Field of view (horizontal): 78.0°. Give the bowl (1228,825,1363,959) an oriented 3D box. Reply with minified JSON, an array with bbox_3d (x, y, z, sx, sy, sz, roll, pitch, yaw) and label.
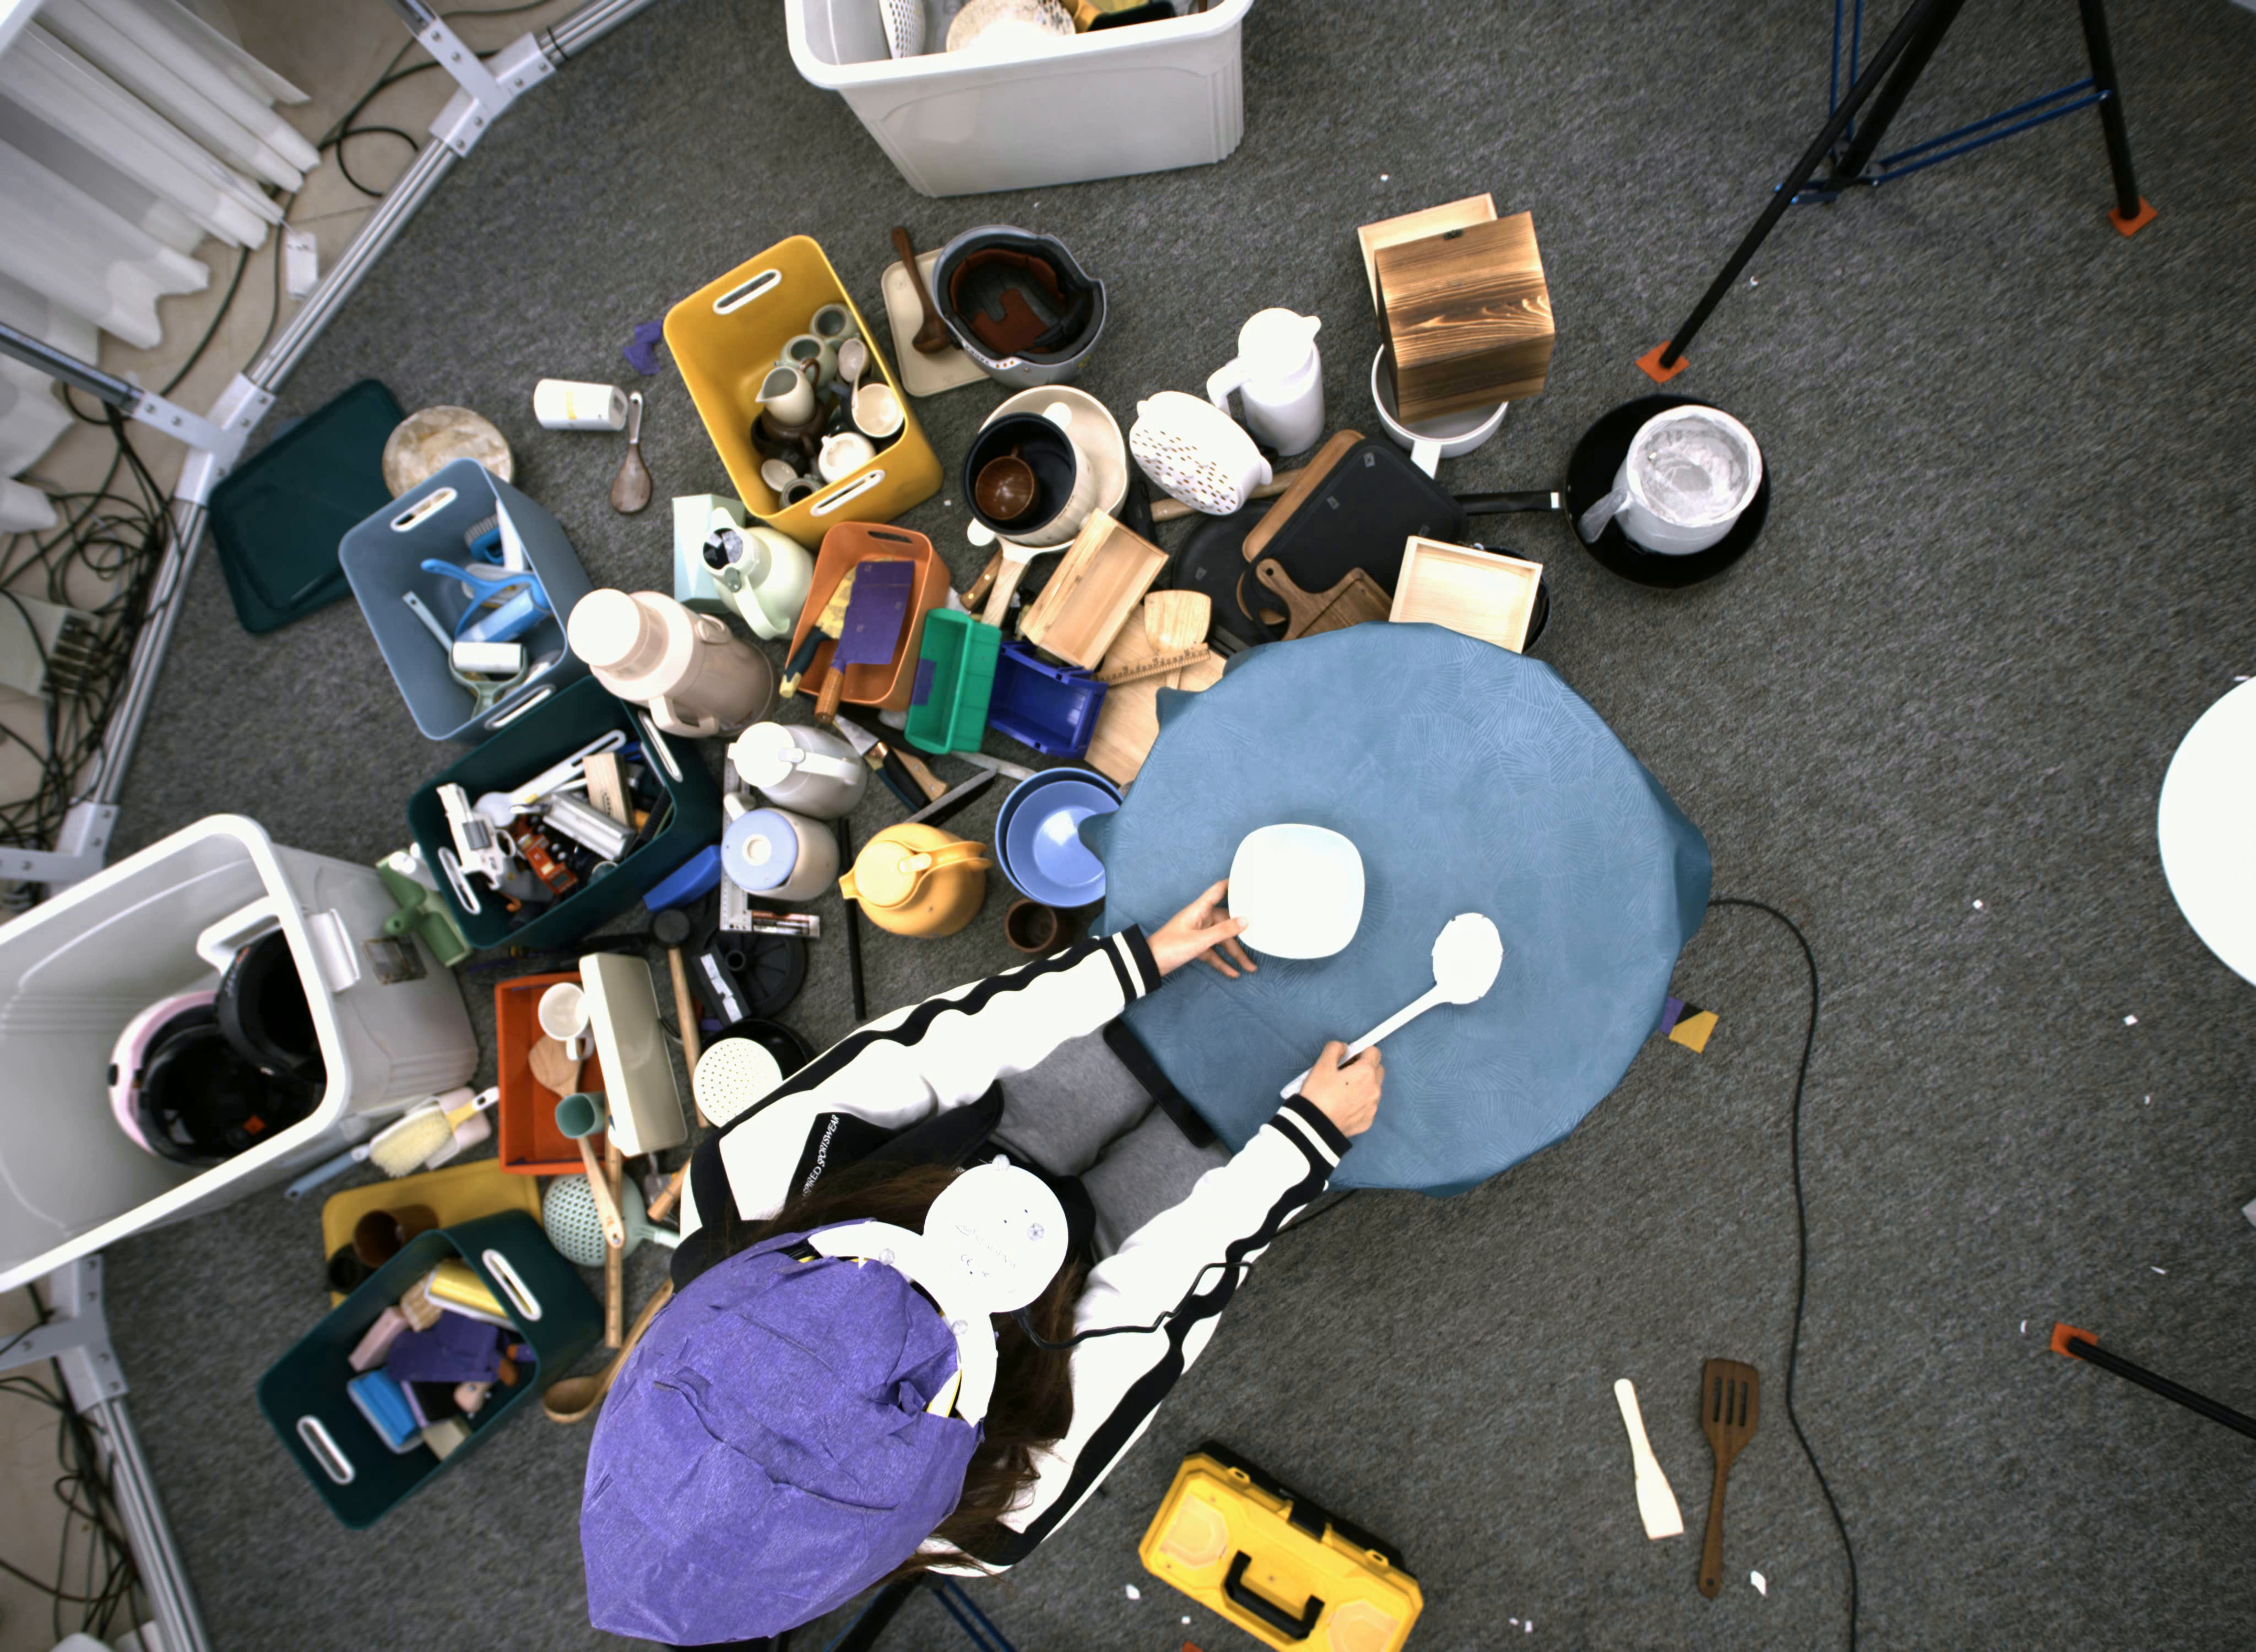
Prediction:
[{"bbox_3d":[0.177,0.070,1.451,0.152,0.058,0.151,-1,86,10],"label":"bowl"}]

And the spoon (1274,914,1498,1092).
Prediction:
[{"bbox_3d":[0.259,0.184,1.425,0.279,0.060,0.098,-32,38,8],"label":"spoon"}]
